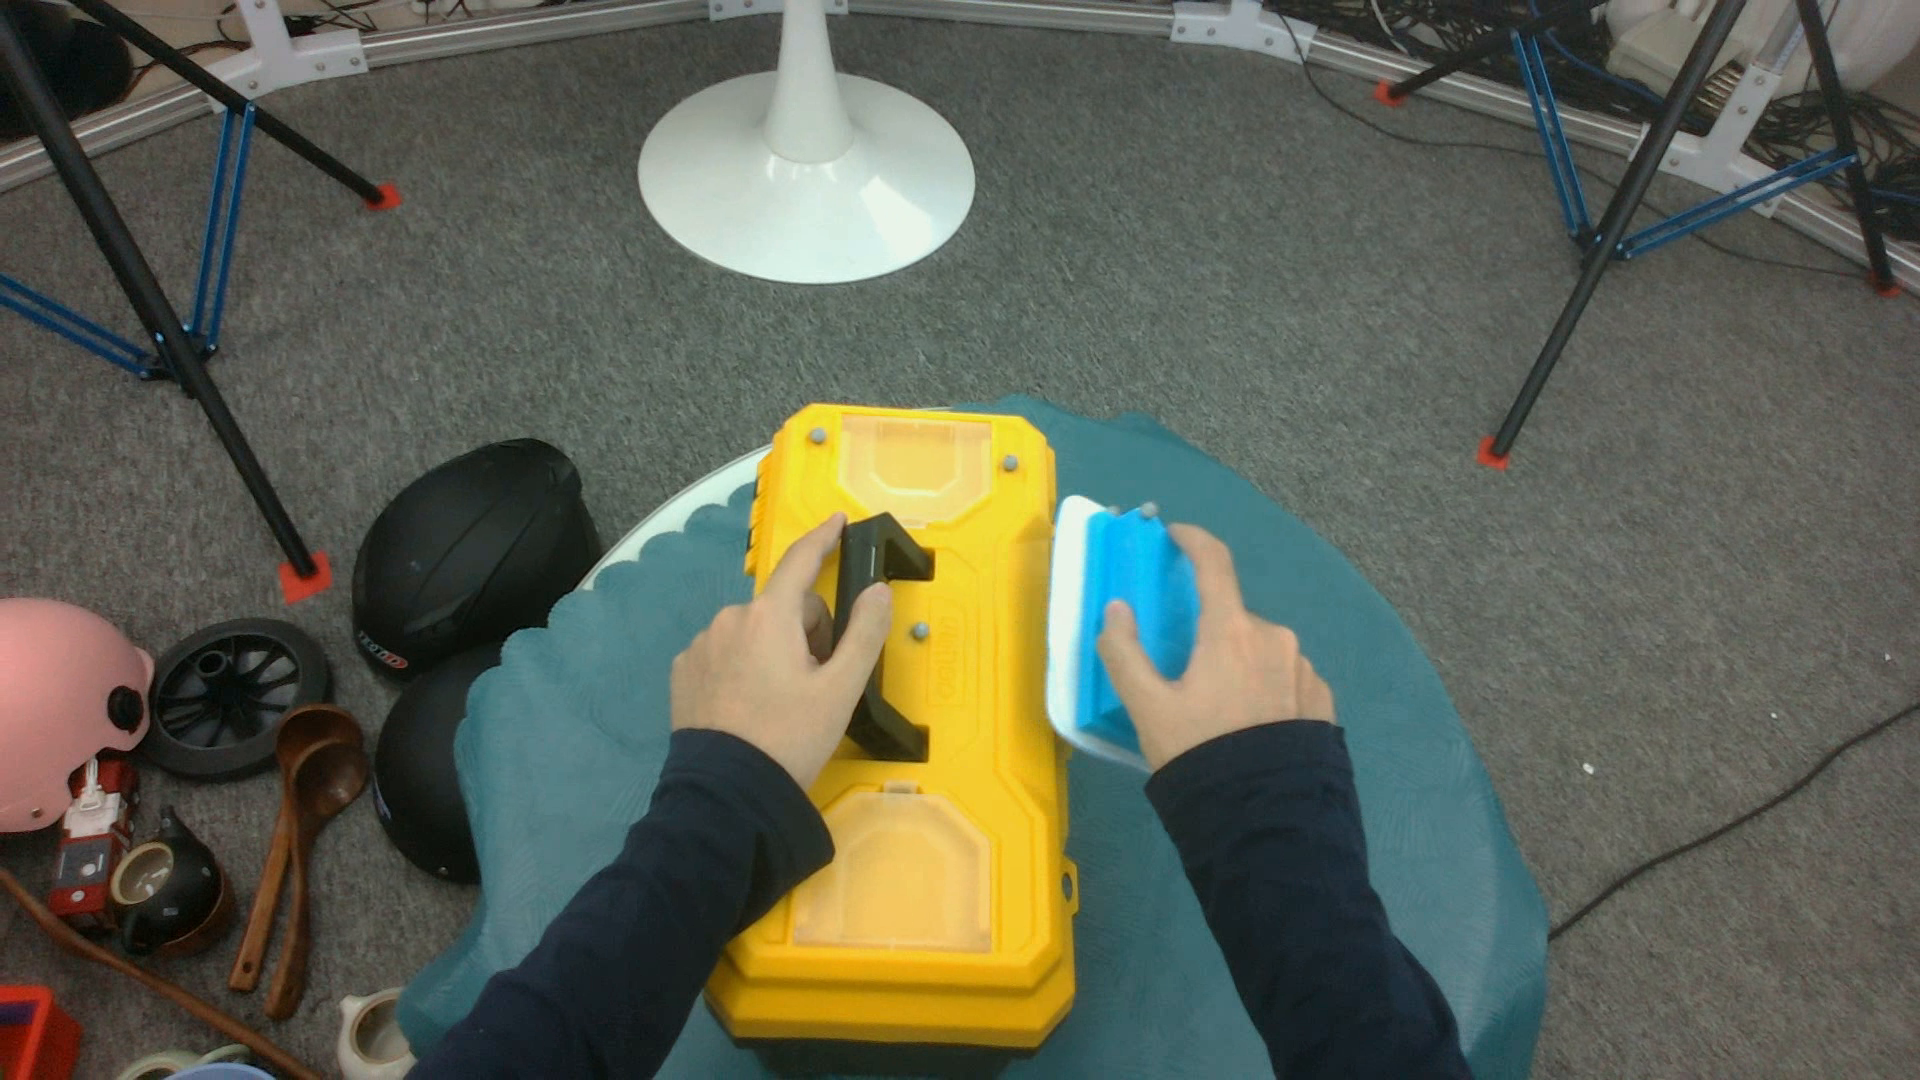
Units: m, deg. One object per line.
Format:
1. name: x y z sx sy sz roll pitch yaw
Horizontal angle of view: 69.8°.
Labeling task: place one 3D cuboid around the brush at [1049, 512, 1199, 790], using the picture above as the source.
1. brush: 0.090 0.047 0.678 0.084 0.055 0.144 22 49 -22

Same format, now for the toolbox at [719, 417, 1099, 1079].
1. toolbox: -0.028 0.108 0.755 0.181 0.172 0.353 2 52 -3
